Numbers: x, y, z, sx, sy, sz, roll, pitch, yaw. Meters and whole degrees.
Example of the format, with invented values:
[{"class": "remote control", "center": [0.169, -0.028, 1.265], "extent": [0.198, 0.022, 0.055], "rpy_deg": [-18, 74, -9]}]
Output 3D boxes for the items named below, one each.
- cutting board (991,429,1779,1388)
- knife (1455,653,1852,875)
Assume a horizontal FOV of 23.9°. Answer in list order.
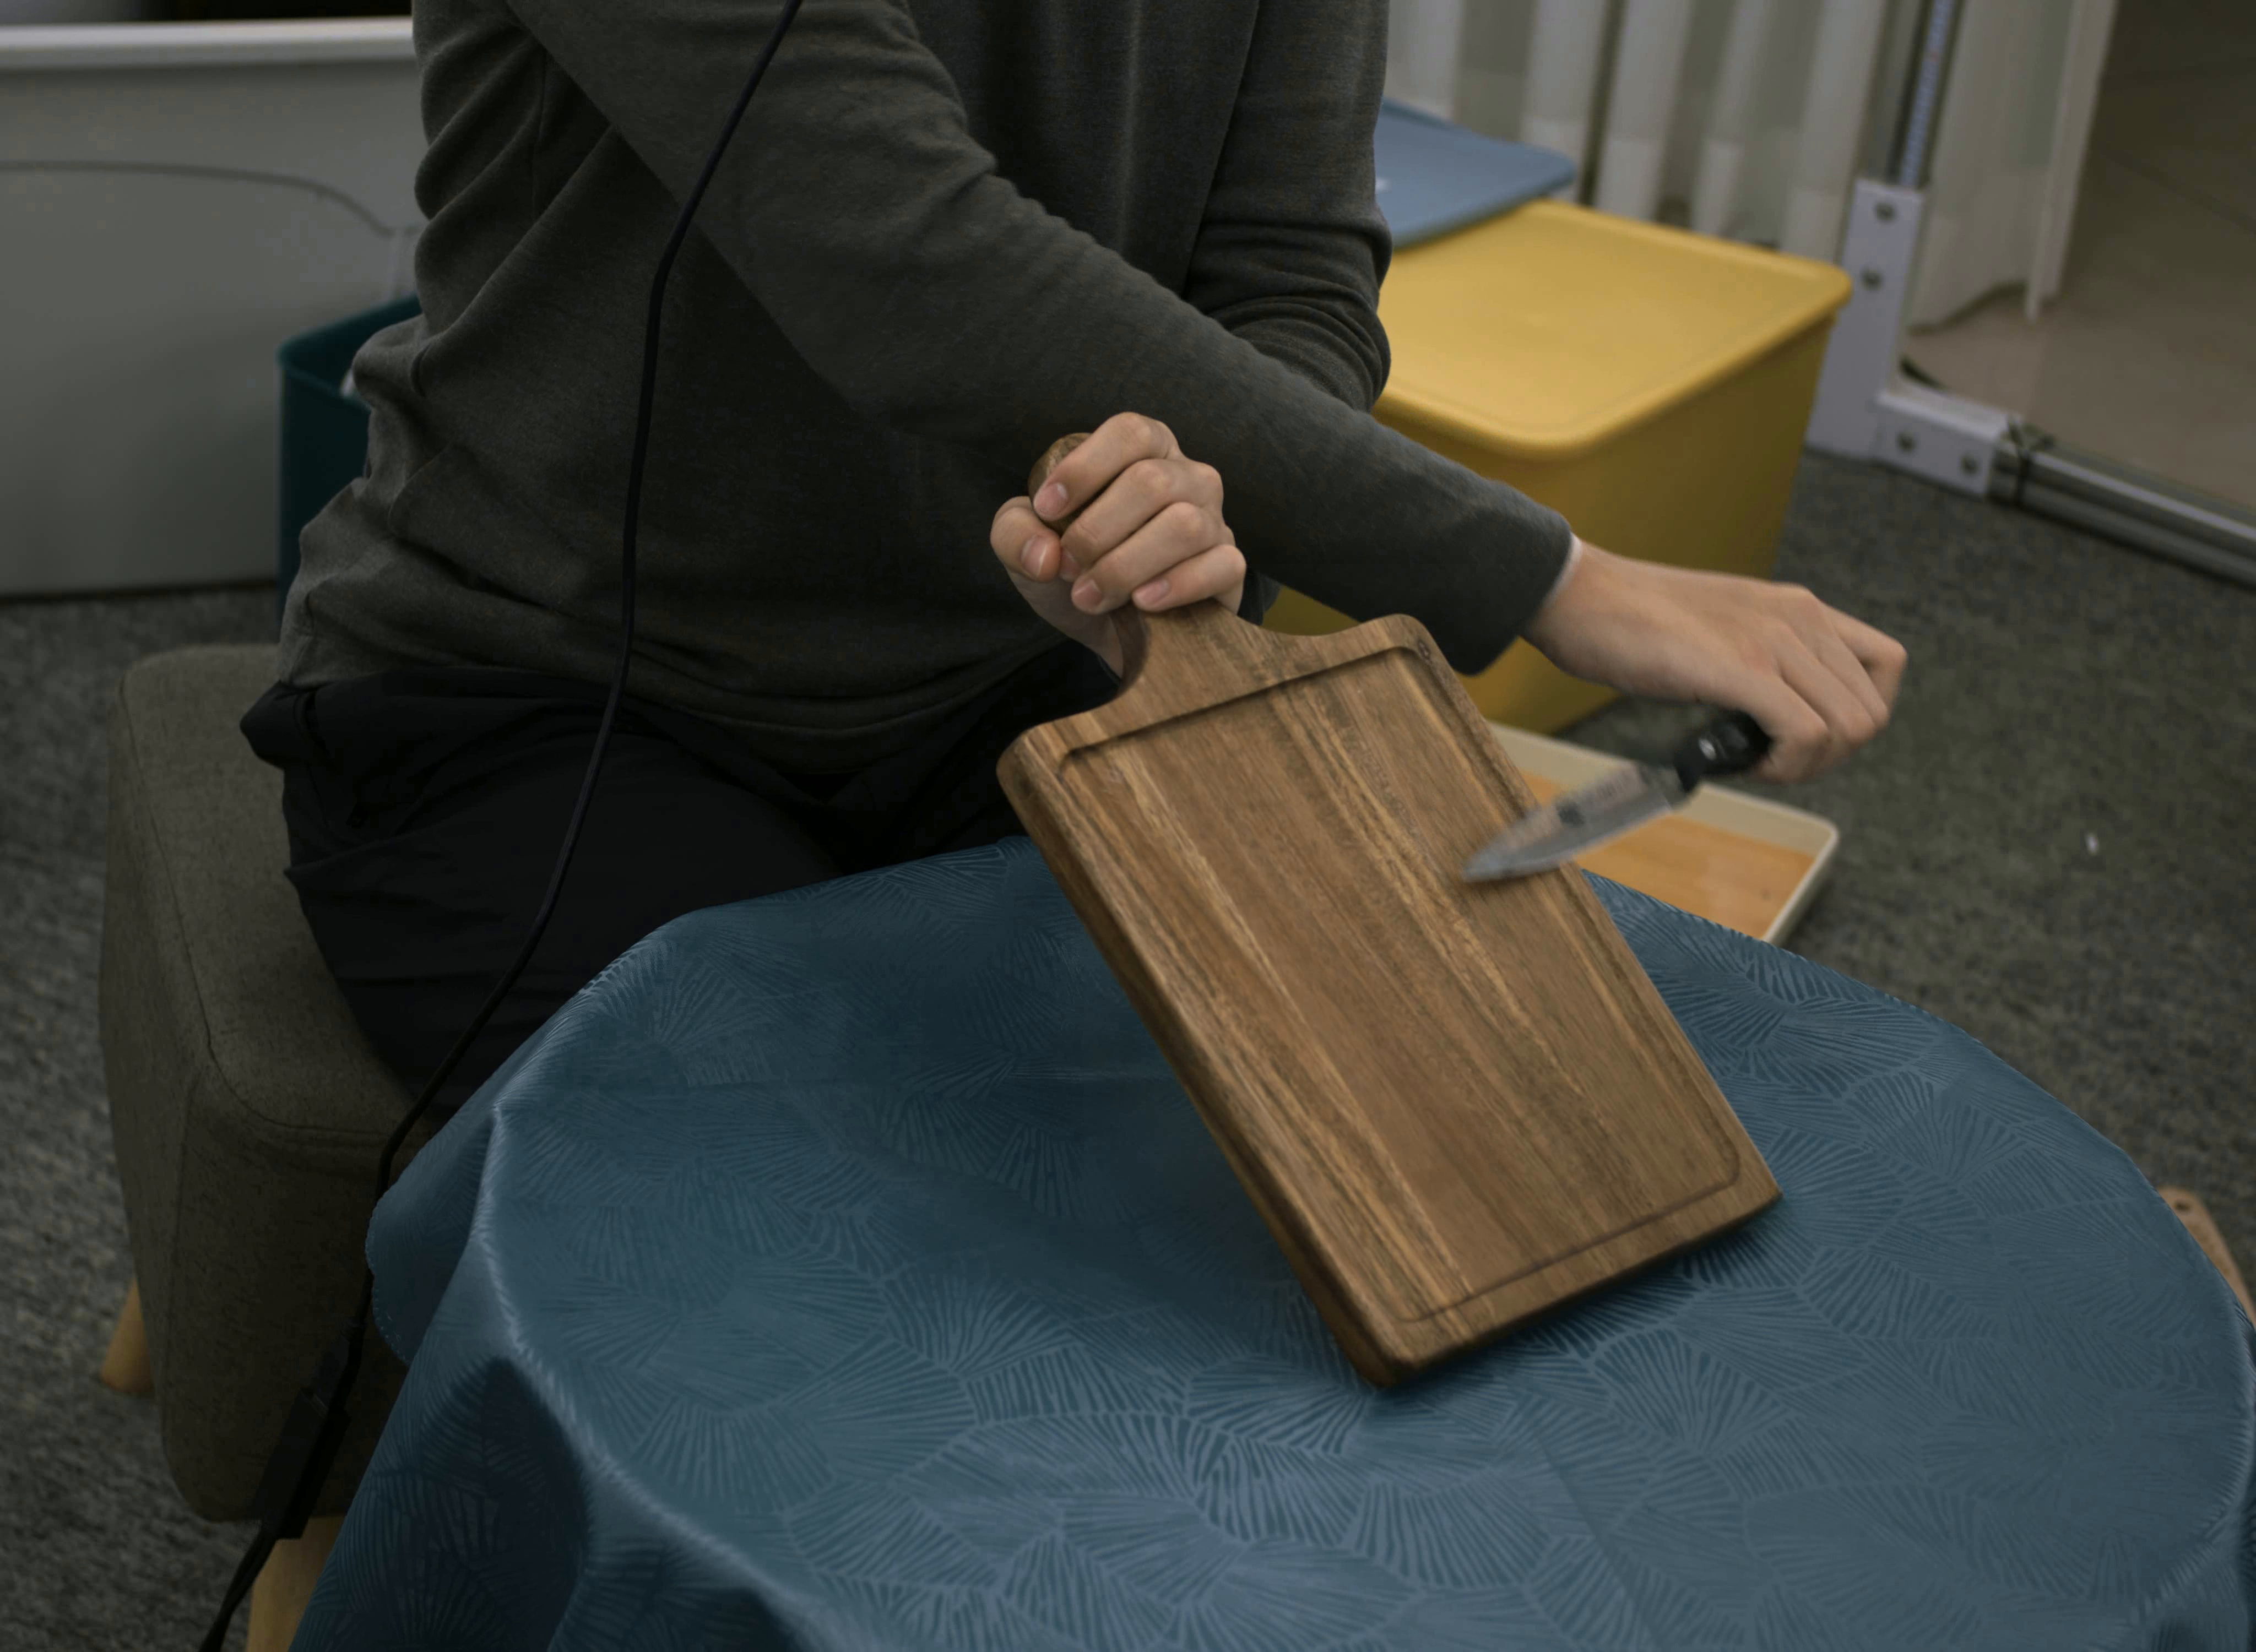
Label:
[{"class": "cutting board", "center": [0.064, 0.011, 1.811], "extent": [0.200, 0.023, 0.354], "rpy_deg": [-18, 69, -40]}, {"class": "knife", "center": [0.187, -0.022, 1.902], "extent": [0.237, 0.016, 0.024], "rpy_deg": [-25, 79, -44]}]
